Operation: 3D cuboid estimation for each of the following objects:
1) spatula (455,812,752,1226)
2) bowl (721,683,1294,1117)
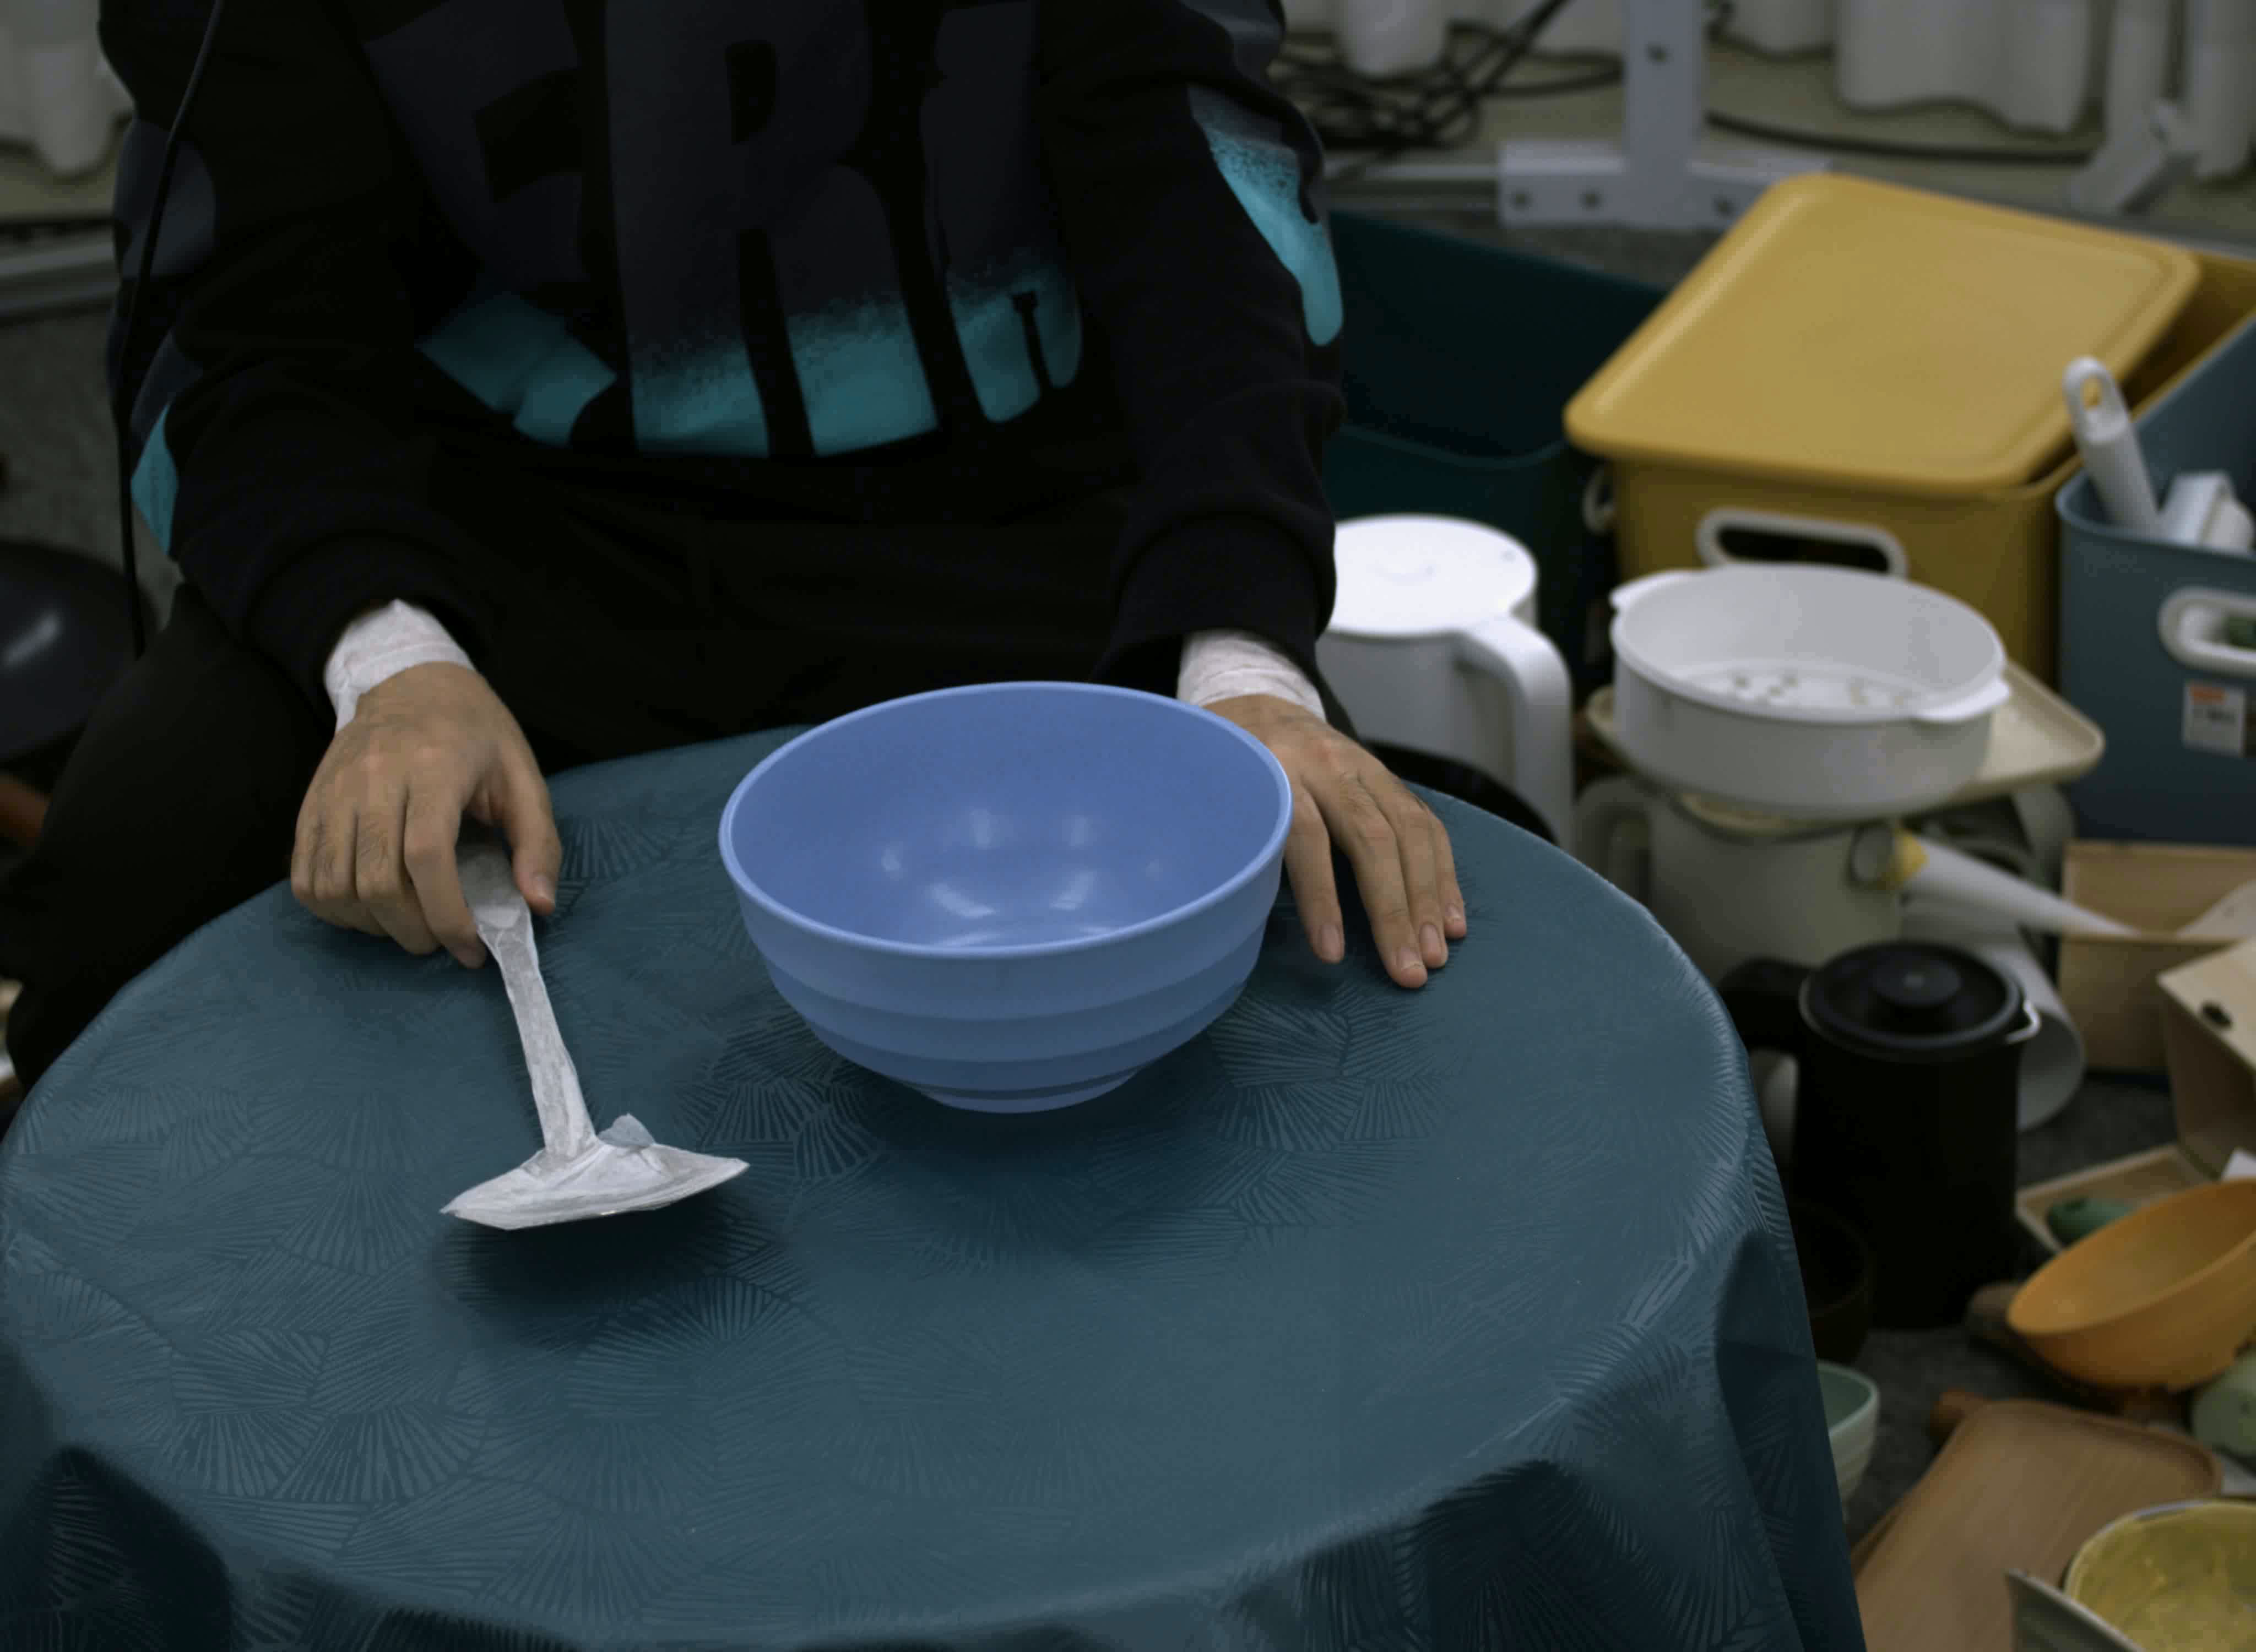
[{"bbox_3d":[-0.204,0.060,1.960,0.098,0.044,0.369,-10,28,-10],"label":"spatula"},{"bbox_3d":[-0.038,0.036,1.930,0.195,0.094,0.199,-3,28,2],"label":"bowl"}]
